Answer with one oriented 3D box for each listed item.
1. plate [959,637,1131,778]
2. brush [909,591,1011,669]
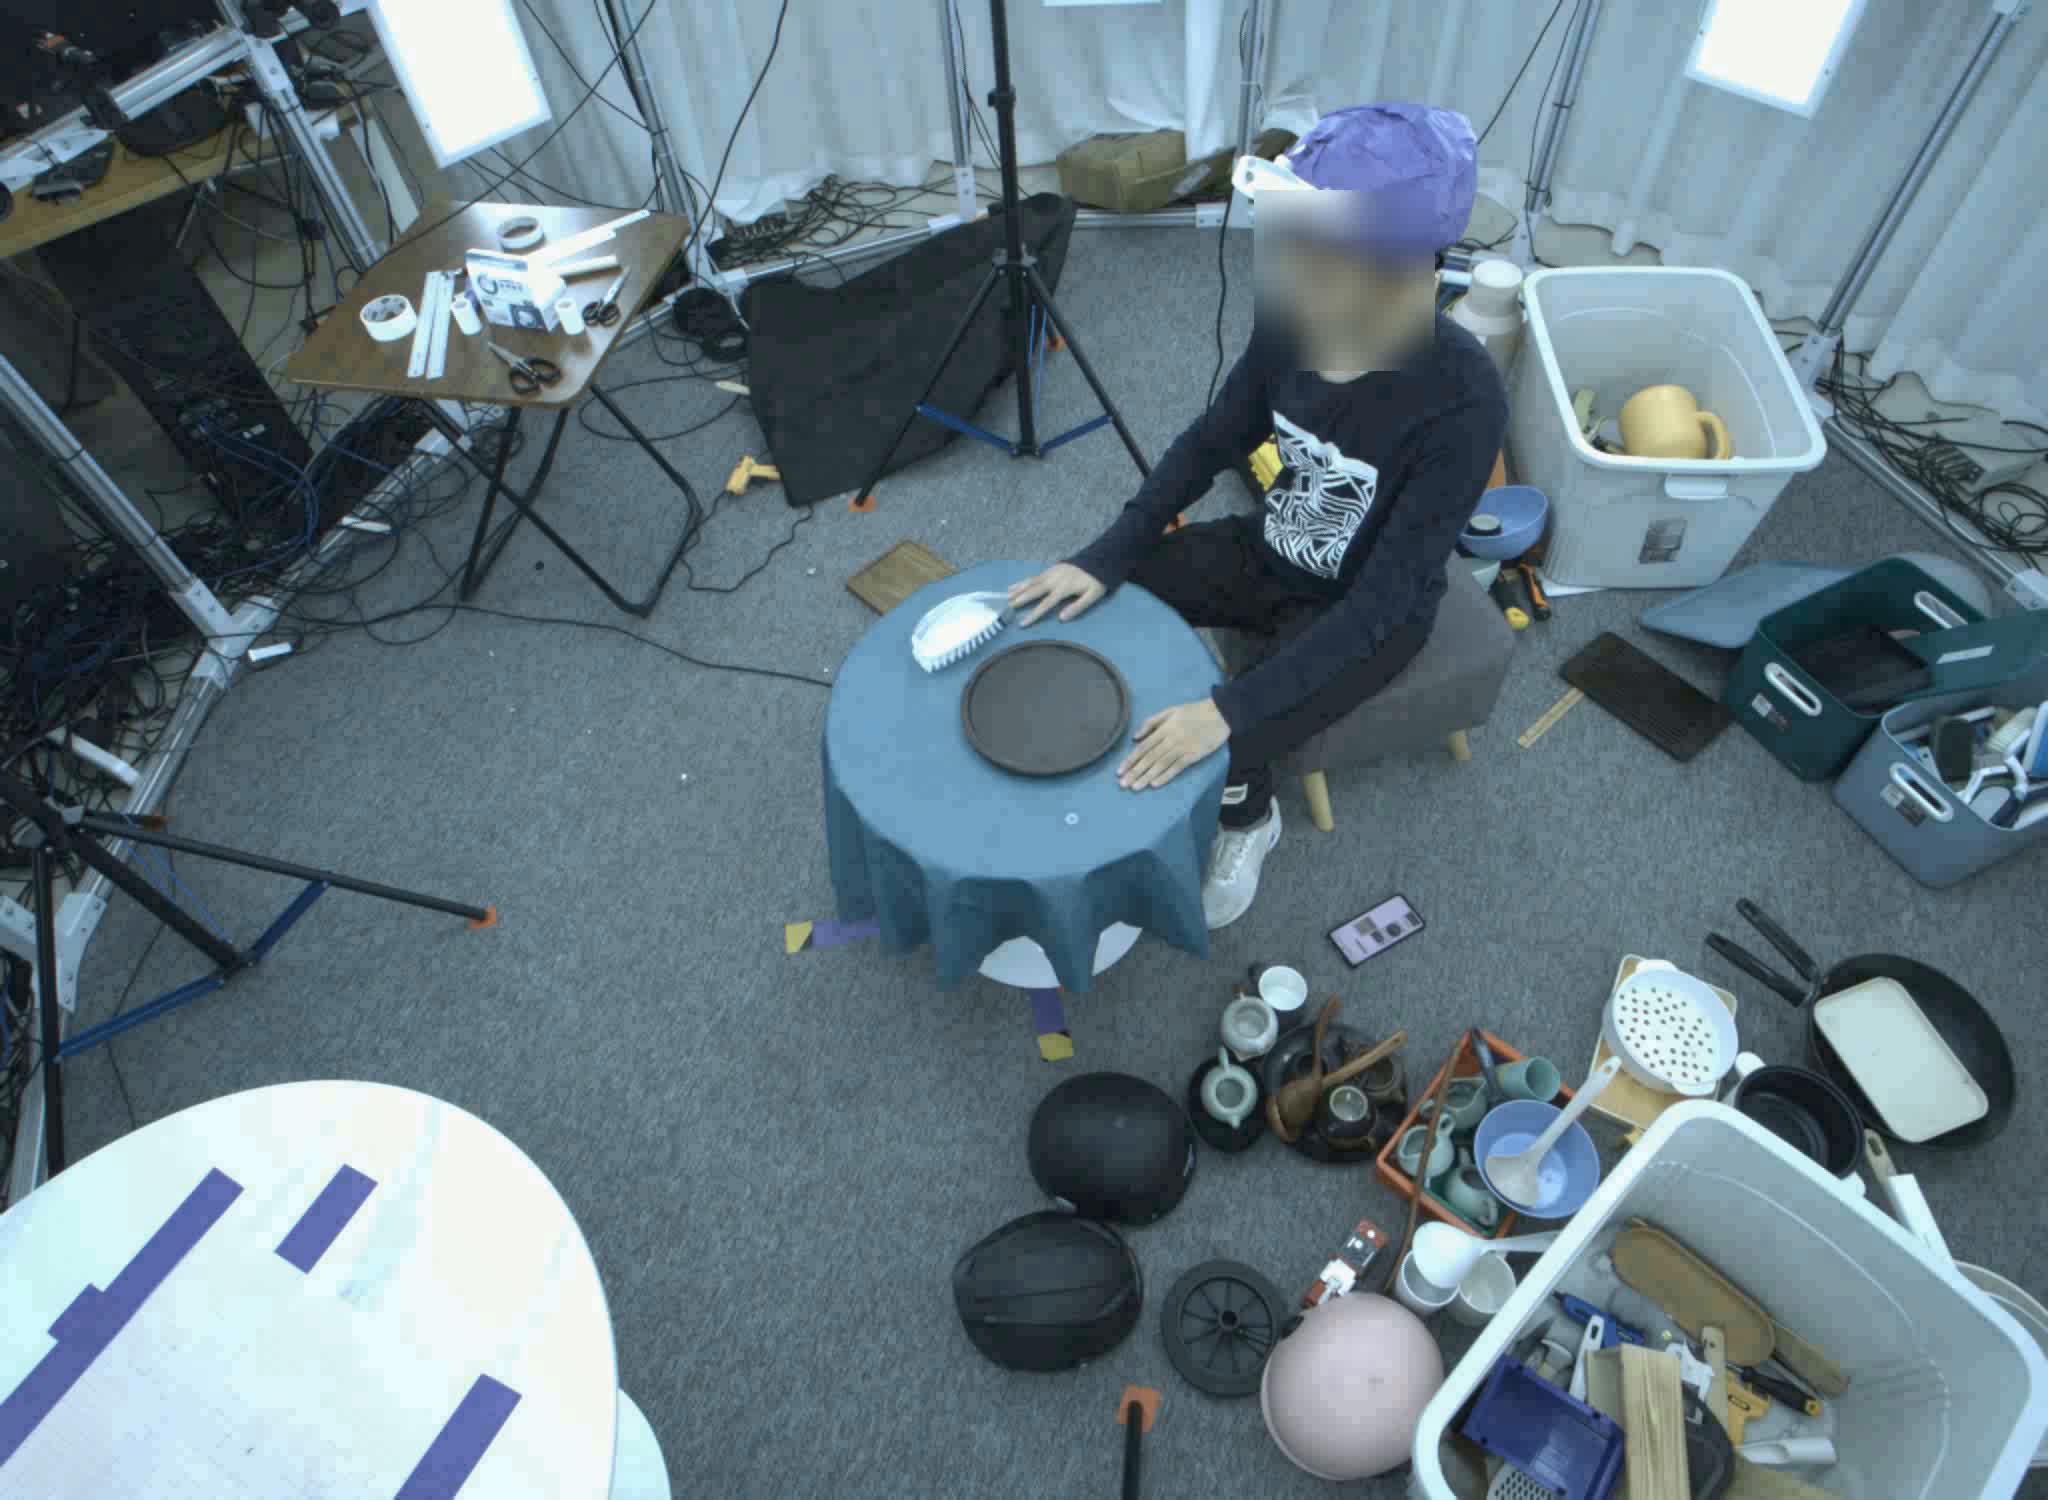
[{"bbox_3d":[0.031,-0.064,1.811,0.254,0.029,0.252,-1,55,3],"label":"plate"},{"bbox_3d":[-0.095,-0.202,1.870,0.177,0.095,0.060,-29,58,-20],"label":"brush"}]
